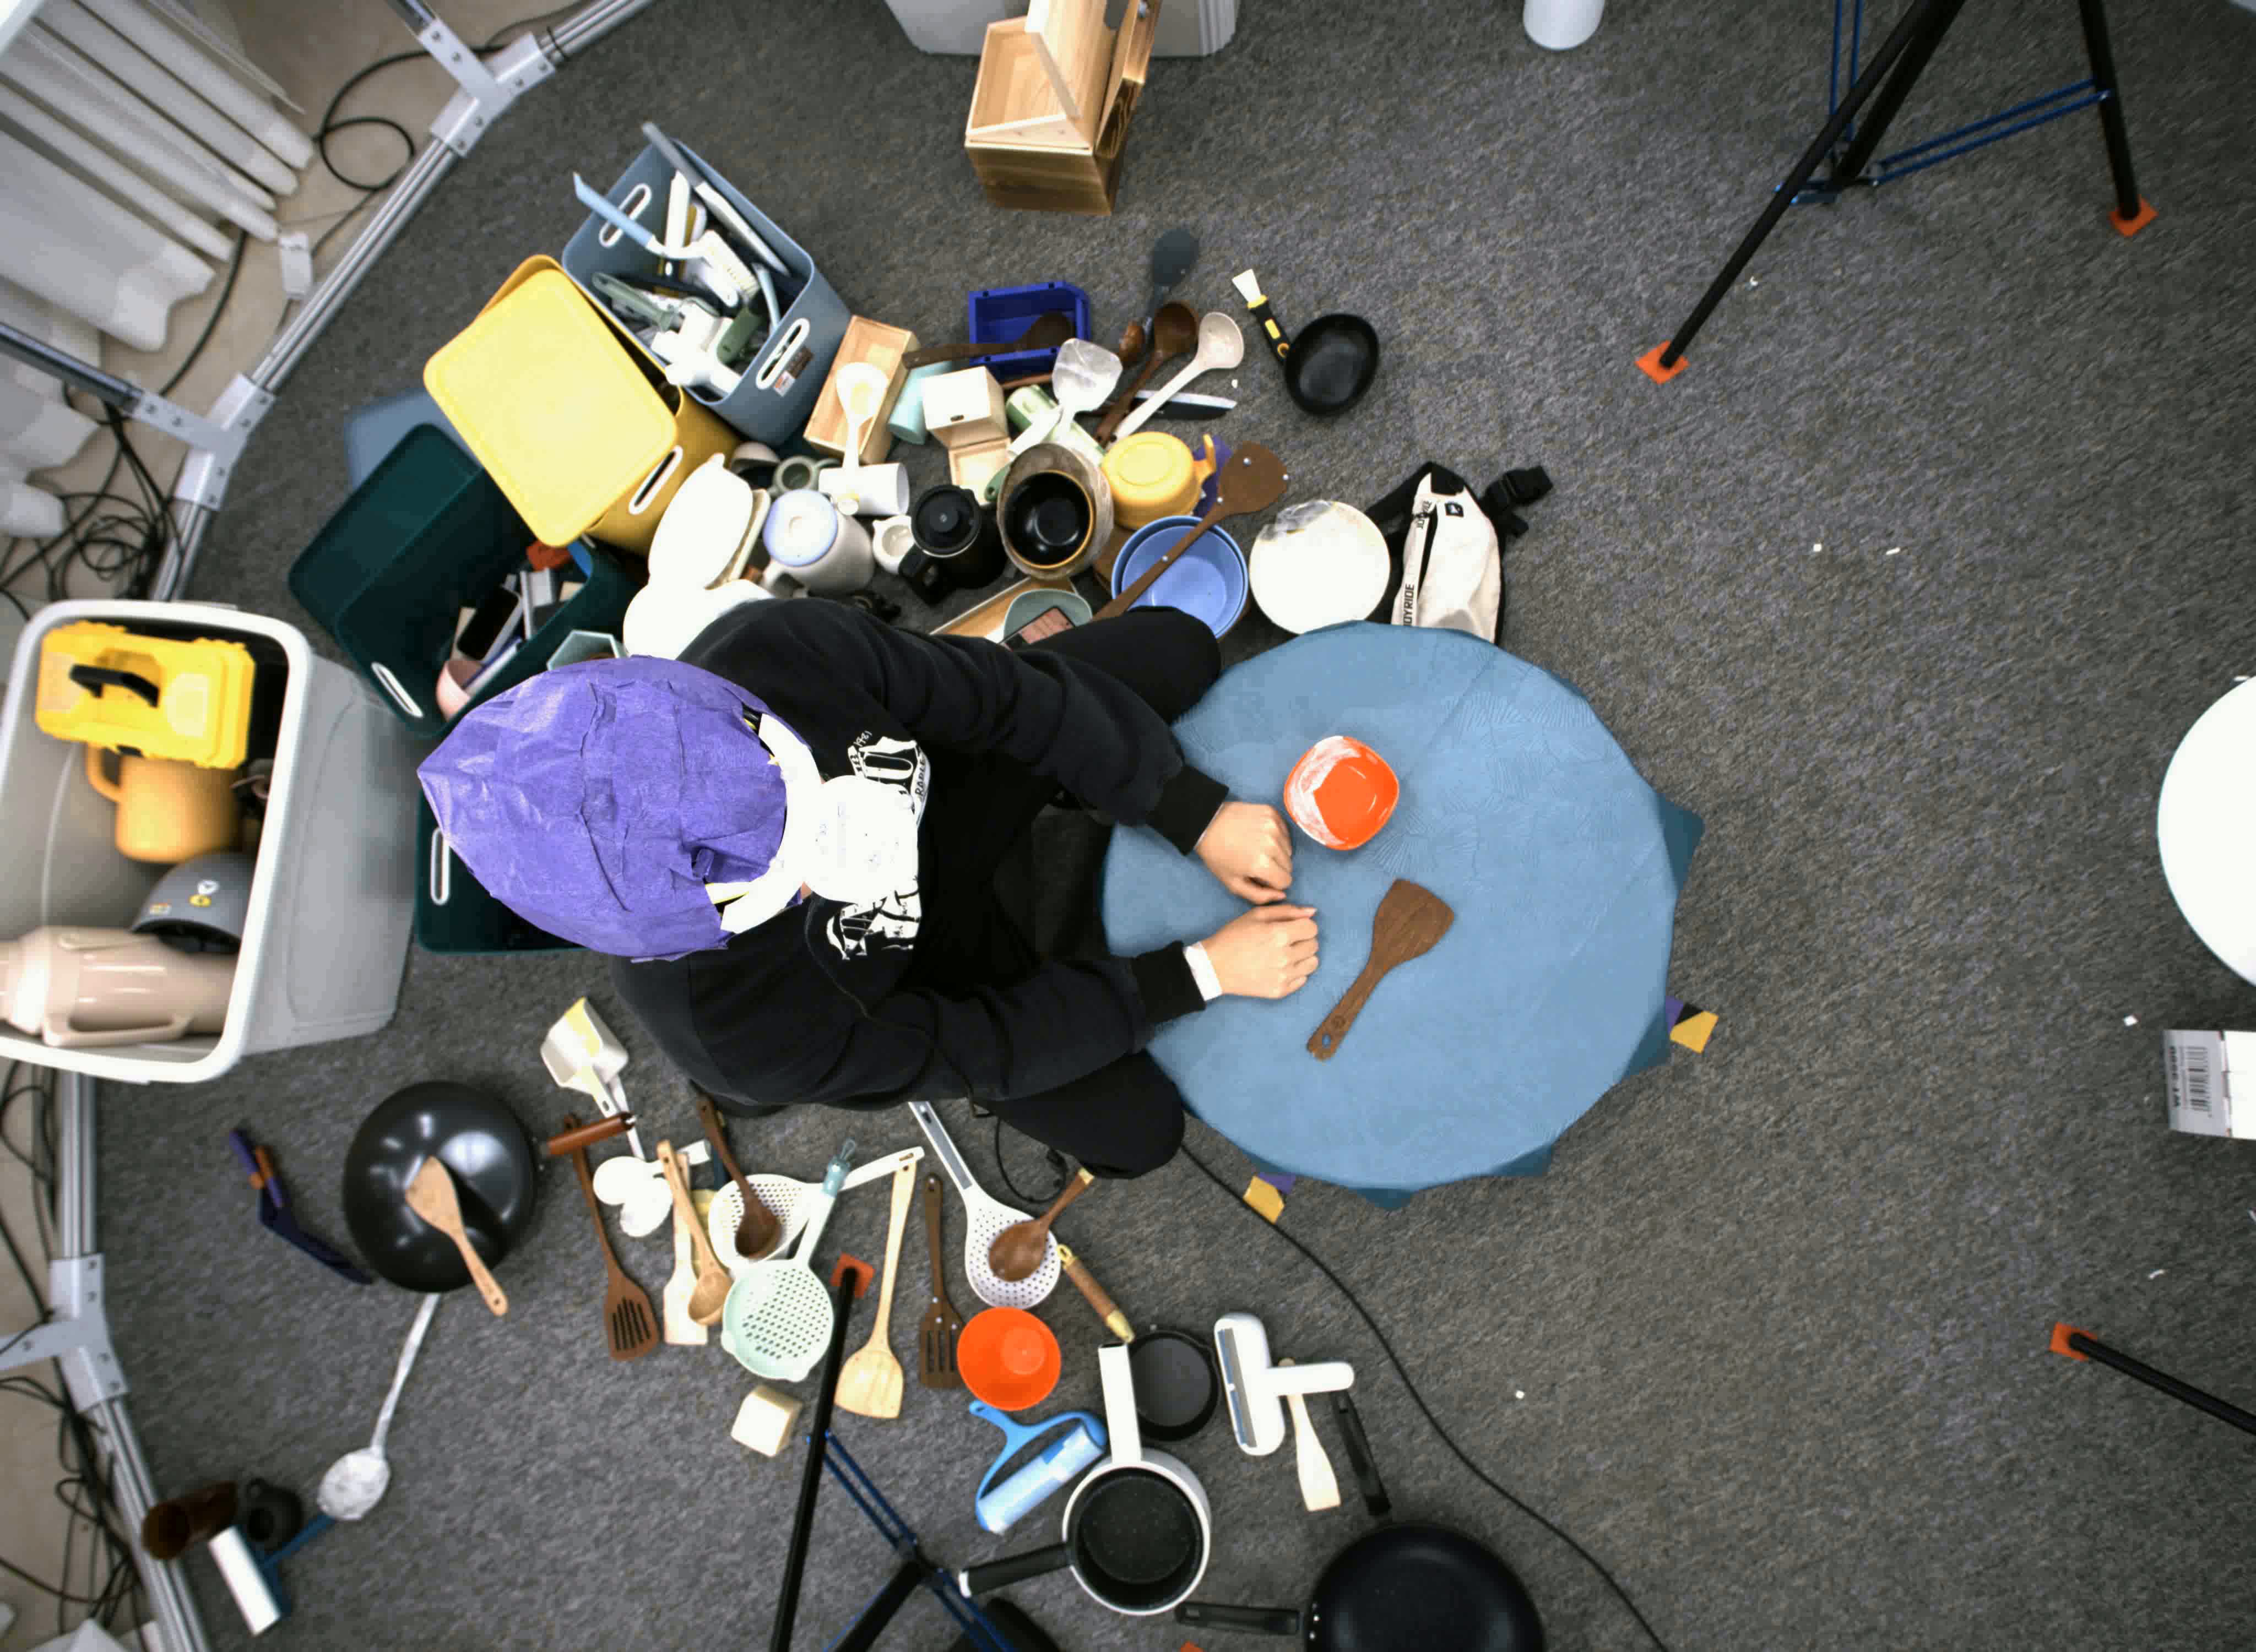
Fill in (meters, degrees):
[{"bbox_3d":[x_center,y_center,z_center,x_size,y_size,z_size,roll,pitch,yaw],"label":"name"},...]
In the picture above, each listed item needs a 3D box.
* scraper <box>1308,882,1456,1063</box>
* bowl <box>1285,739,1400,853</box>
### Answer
[{"bbox_3d":[0.259,0.158,1.457,0.075,0.011,0.212,36,93,12],"label":"scraper"},{"bbox_3d":[0.226,-0.030,1.455,0.119,0.051,0.118,-1,87,9],"label":"bowl"}]
